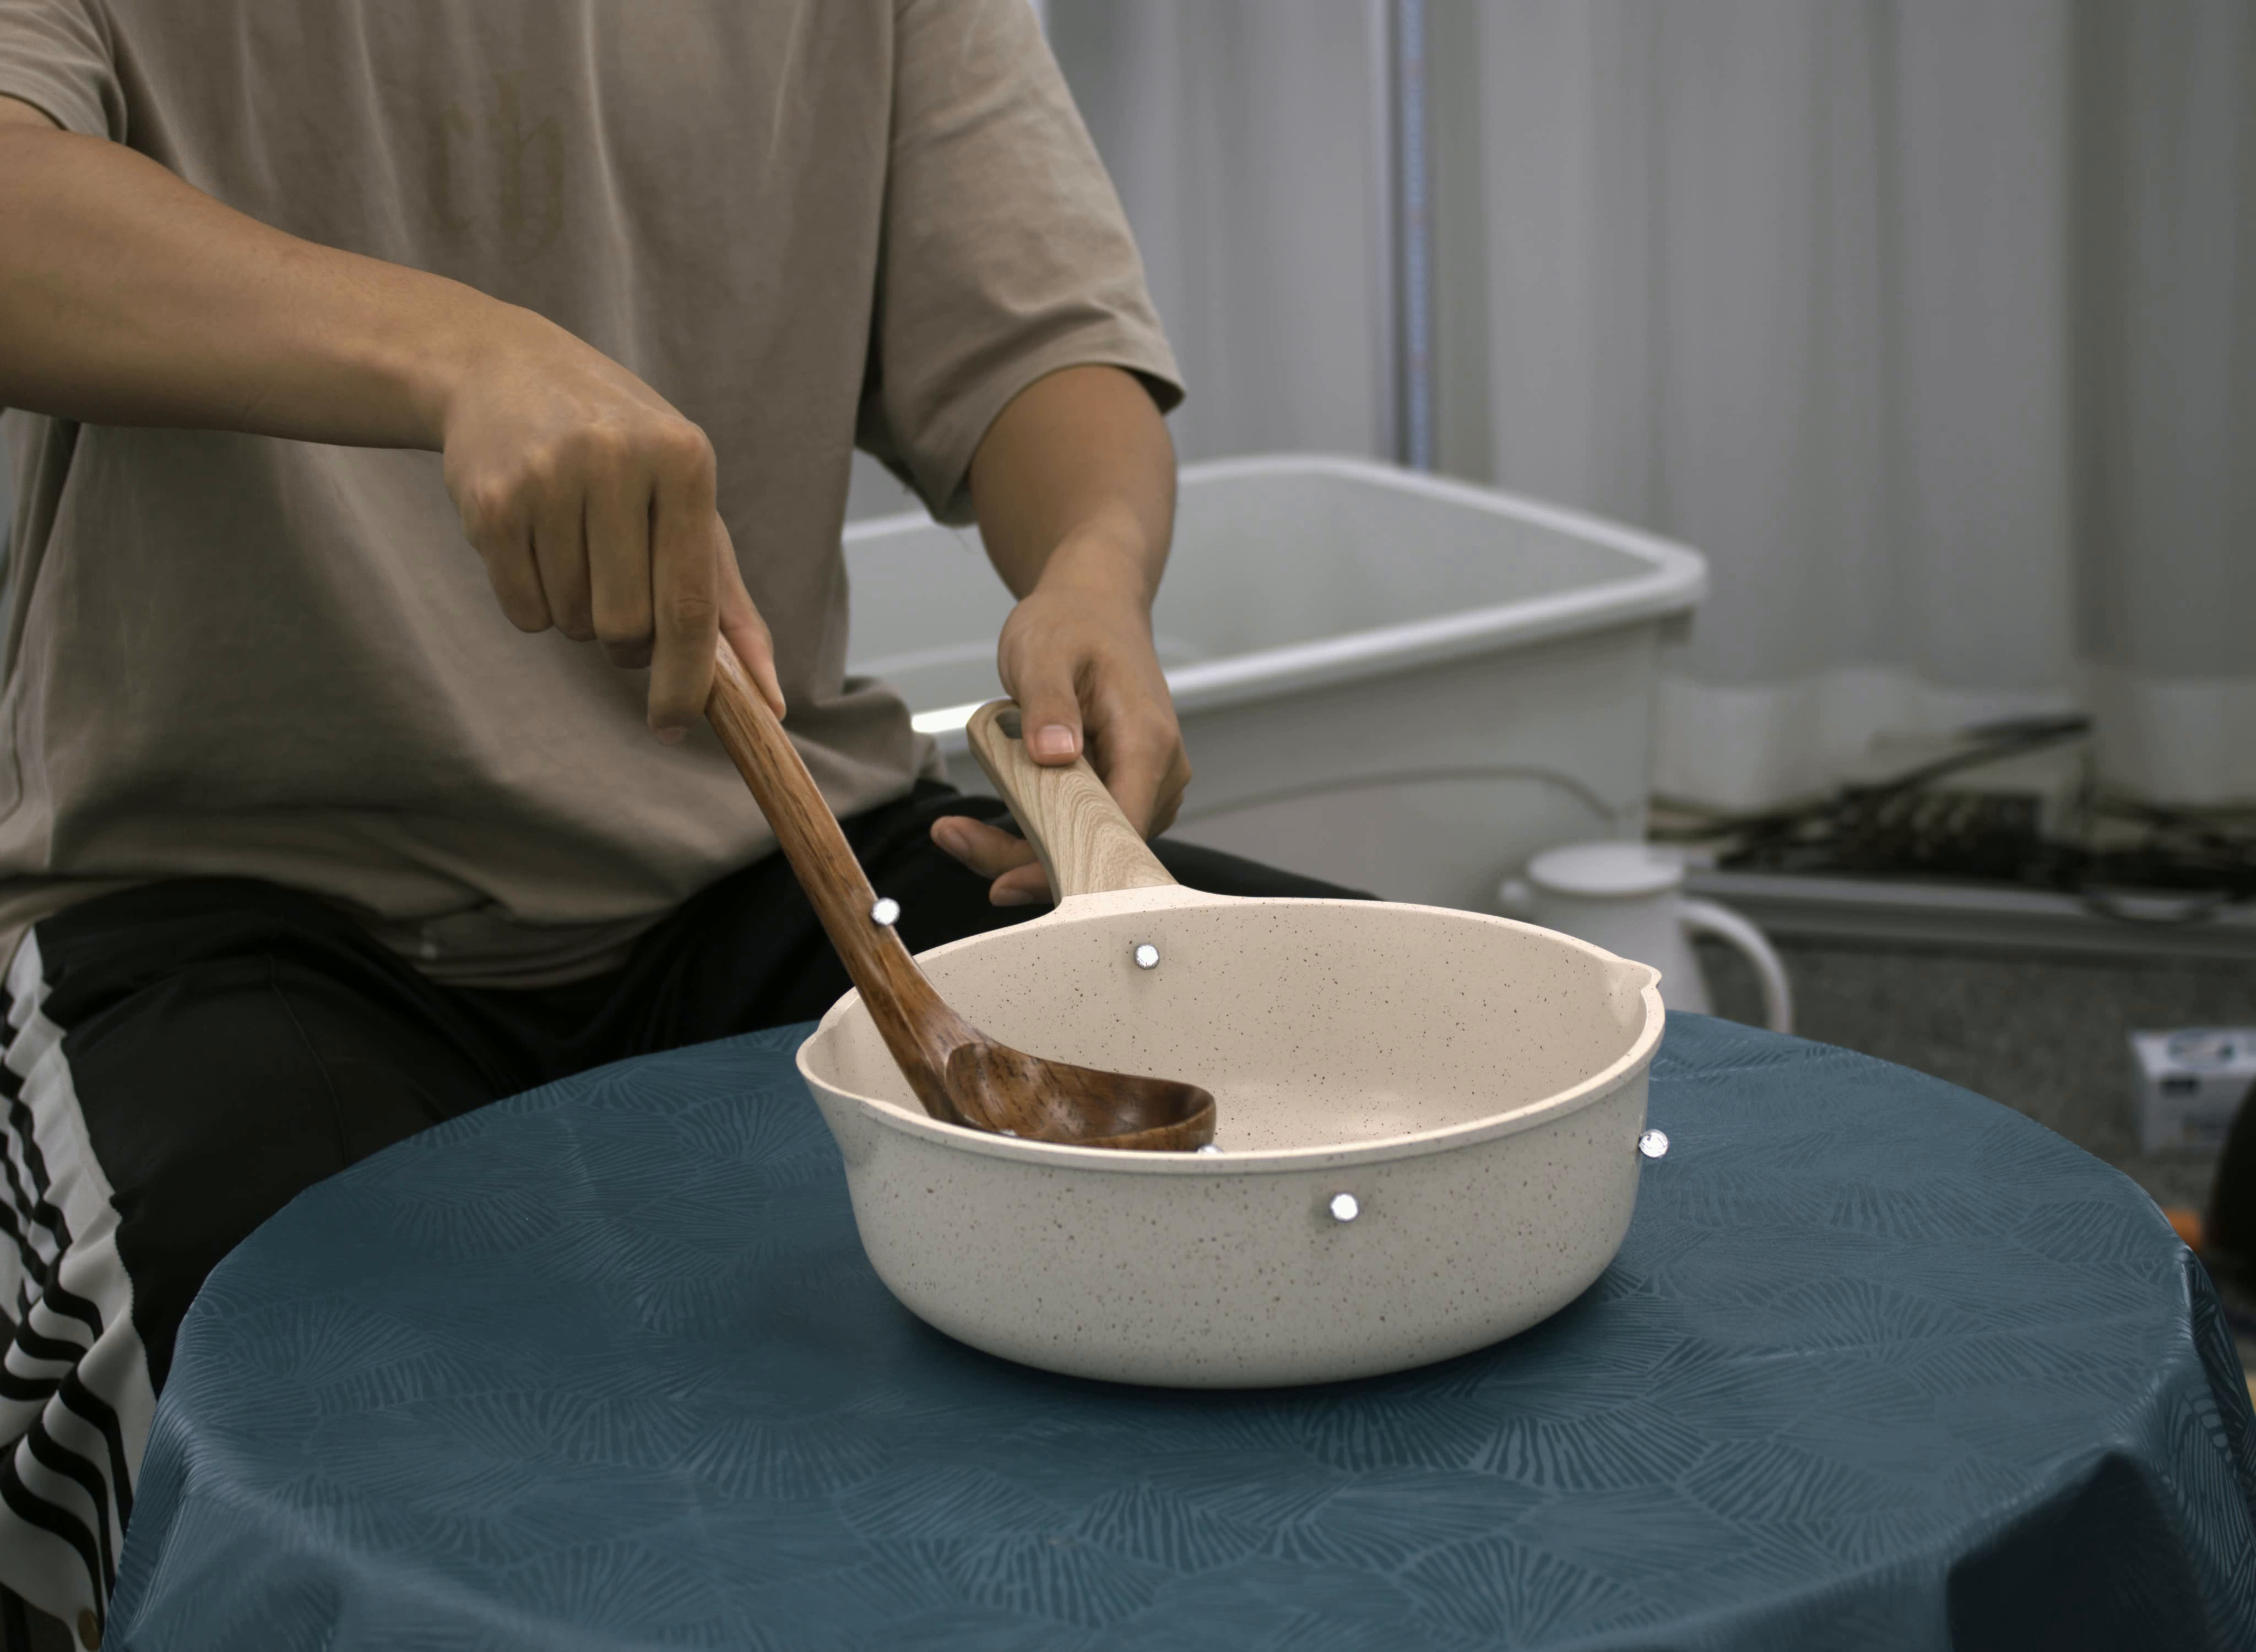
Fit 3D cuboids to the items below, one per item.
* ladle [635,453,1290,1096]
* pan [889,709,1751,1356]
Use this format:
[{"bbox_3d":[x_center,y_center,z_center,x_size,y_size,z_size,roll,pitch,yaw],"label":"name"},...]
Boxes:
[{"bbox_3d":[-0.049,-0.009,1.599,0.076,0.275,0.082,-35,-9,23],"label":"ladle"},{"bbox_3d":[0.037,0.058,1.712,0.262,0.101,0.438,-8,15,-13],"label":"pan"}]
